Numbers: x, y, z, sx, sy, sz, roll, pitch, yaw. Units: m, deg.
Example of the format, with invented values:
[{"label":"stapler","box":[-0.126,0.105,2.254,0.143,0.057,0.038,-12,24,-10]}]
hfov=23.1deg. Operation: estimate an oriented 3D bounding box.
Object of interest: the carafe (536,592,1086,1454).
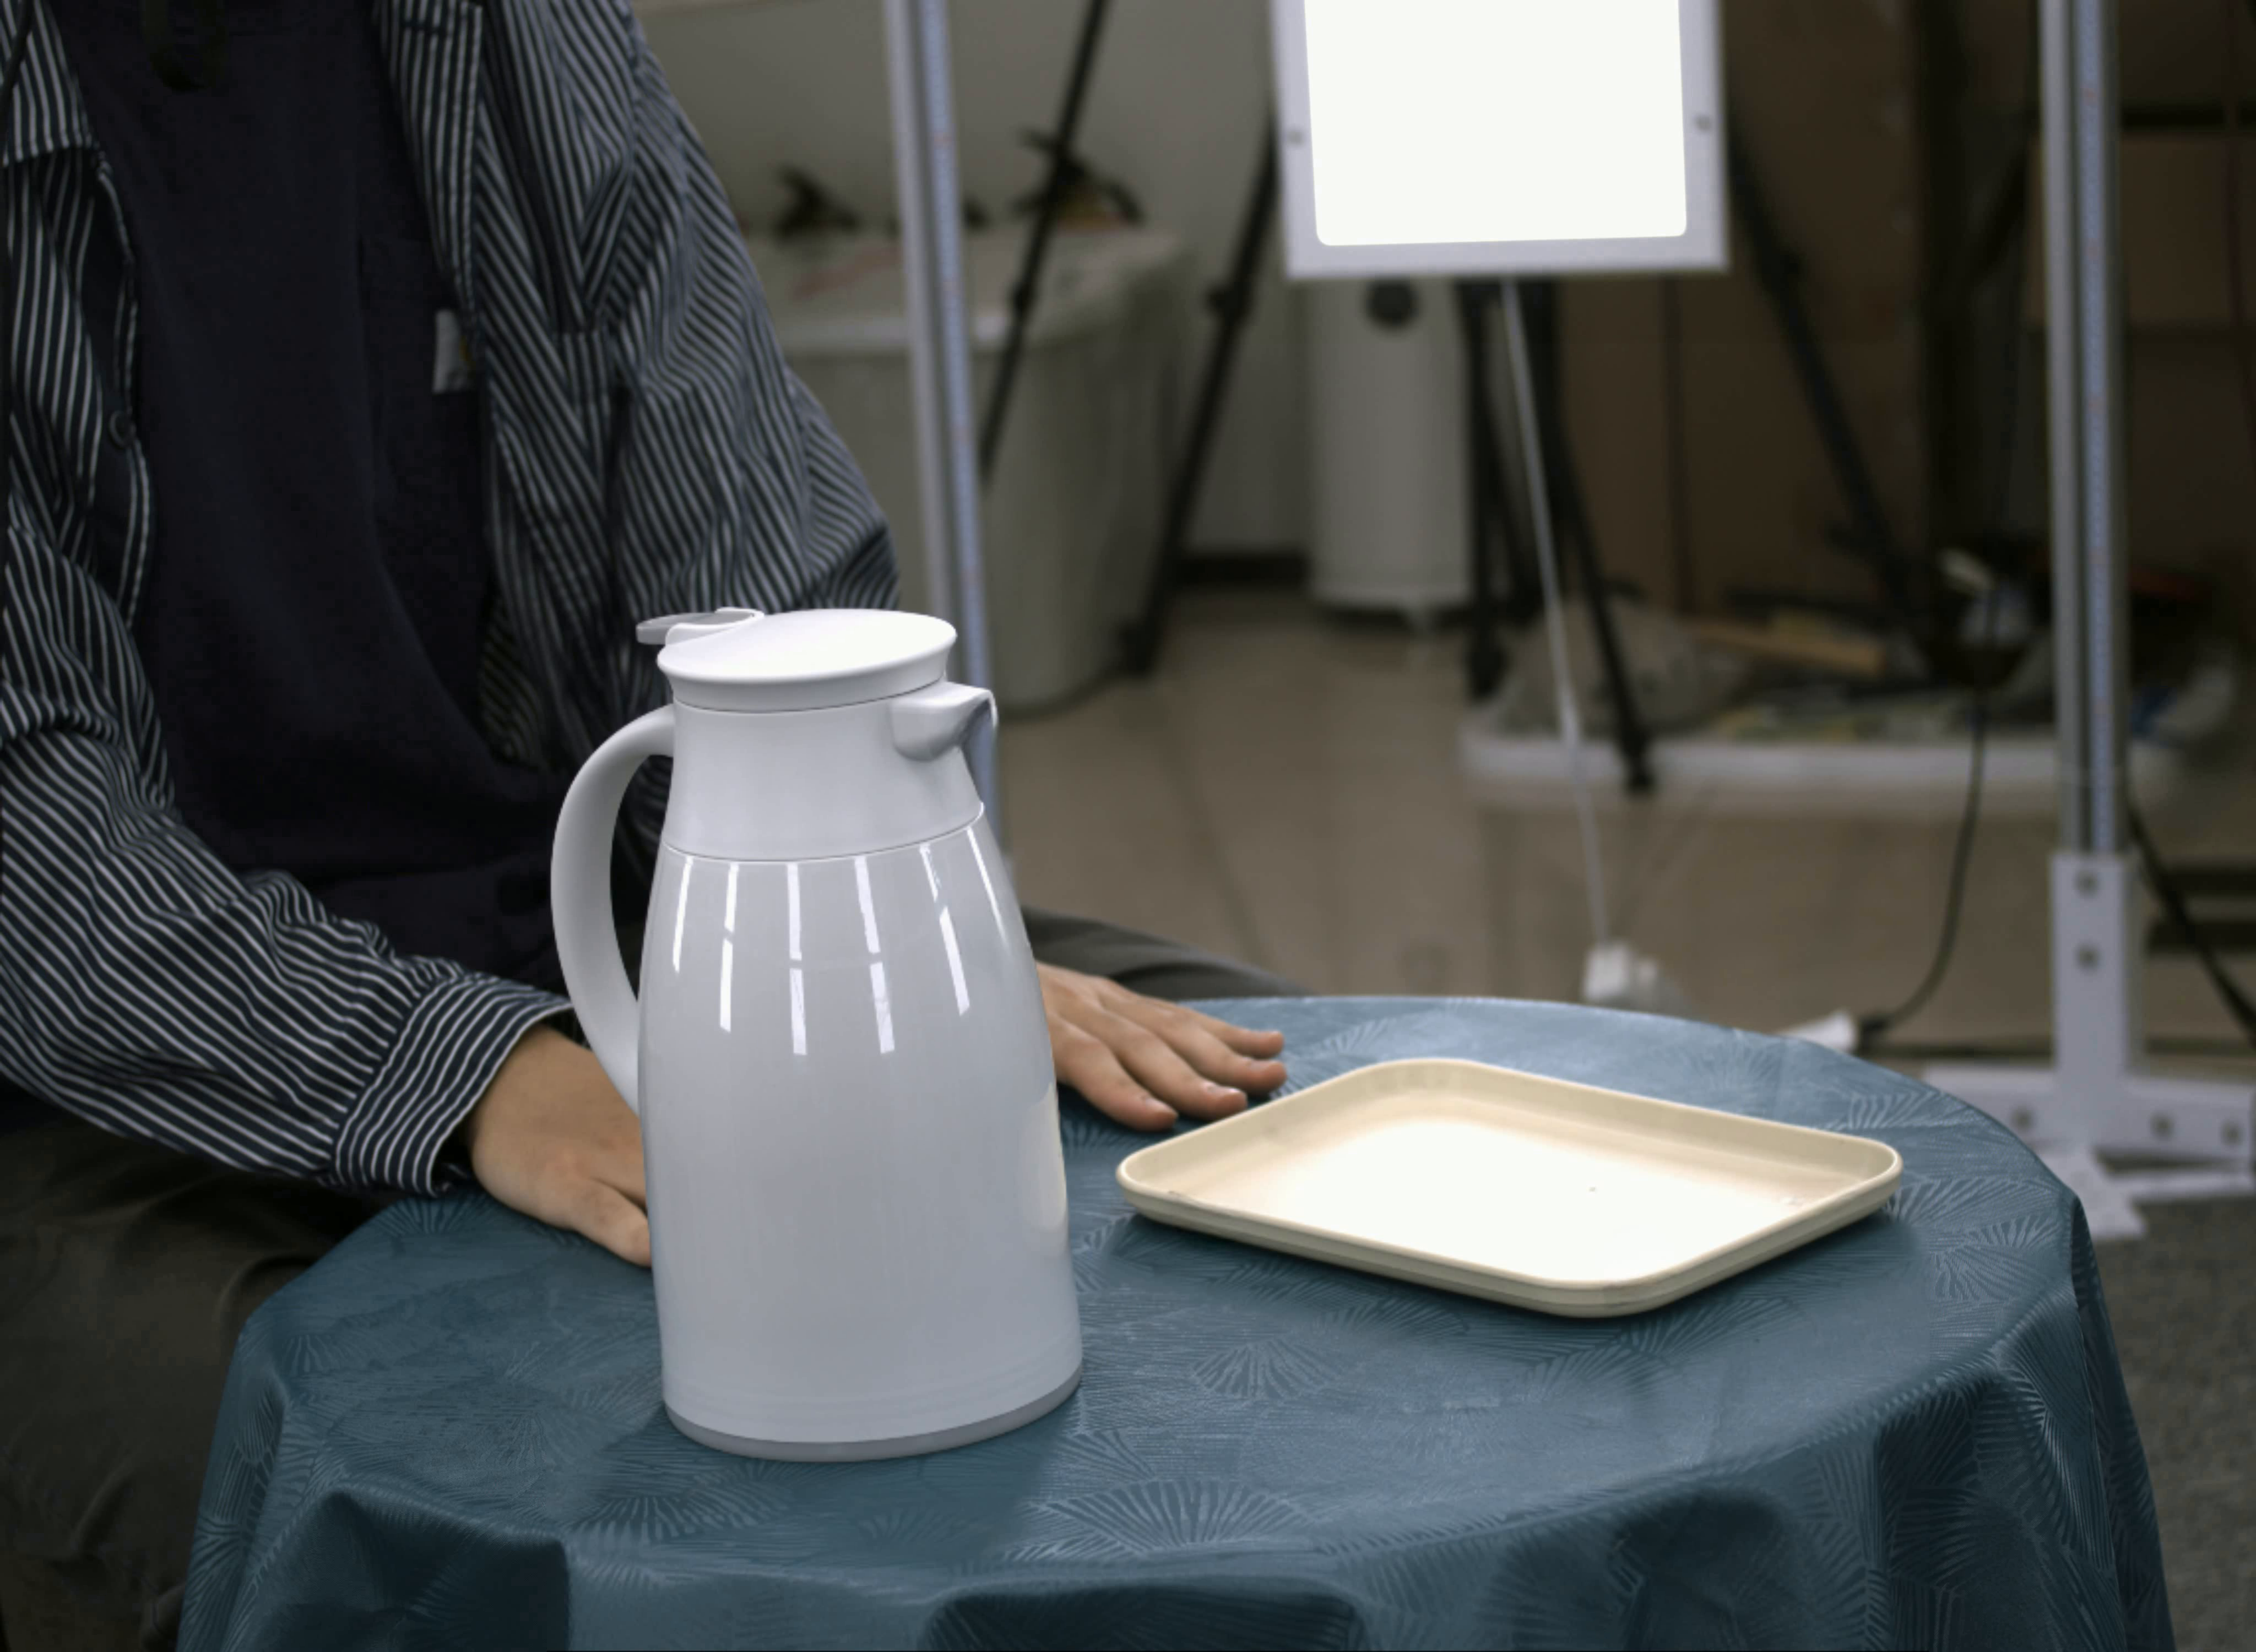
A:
[{"label":"carafe","box":[-0.106,0.053,1.700,0.171,0.249,0.129,2,16,30]}]

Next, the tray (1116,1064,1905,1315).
[{"label":"tray","box":[0.127,0.120,1.835,0.167,0.017,0.245,-17,17,-41]}]
